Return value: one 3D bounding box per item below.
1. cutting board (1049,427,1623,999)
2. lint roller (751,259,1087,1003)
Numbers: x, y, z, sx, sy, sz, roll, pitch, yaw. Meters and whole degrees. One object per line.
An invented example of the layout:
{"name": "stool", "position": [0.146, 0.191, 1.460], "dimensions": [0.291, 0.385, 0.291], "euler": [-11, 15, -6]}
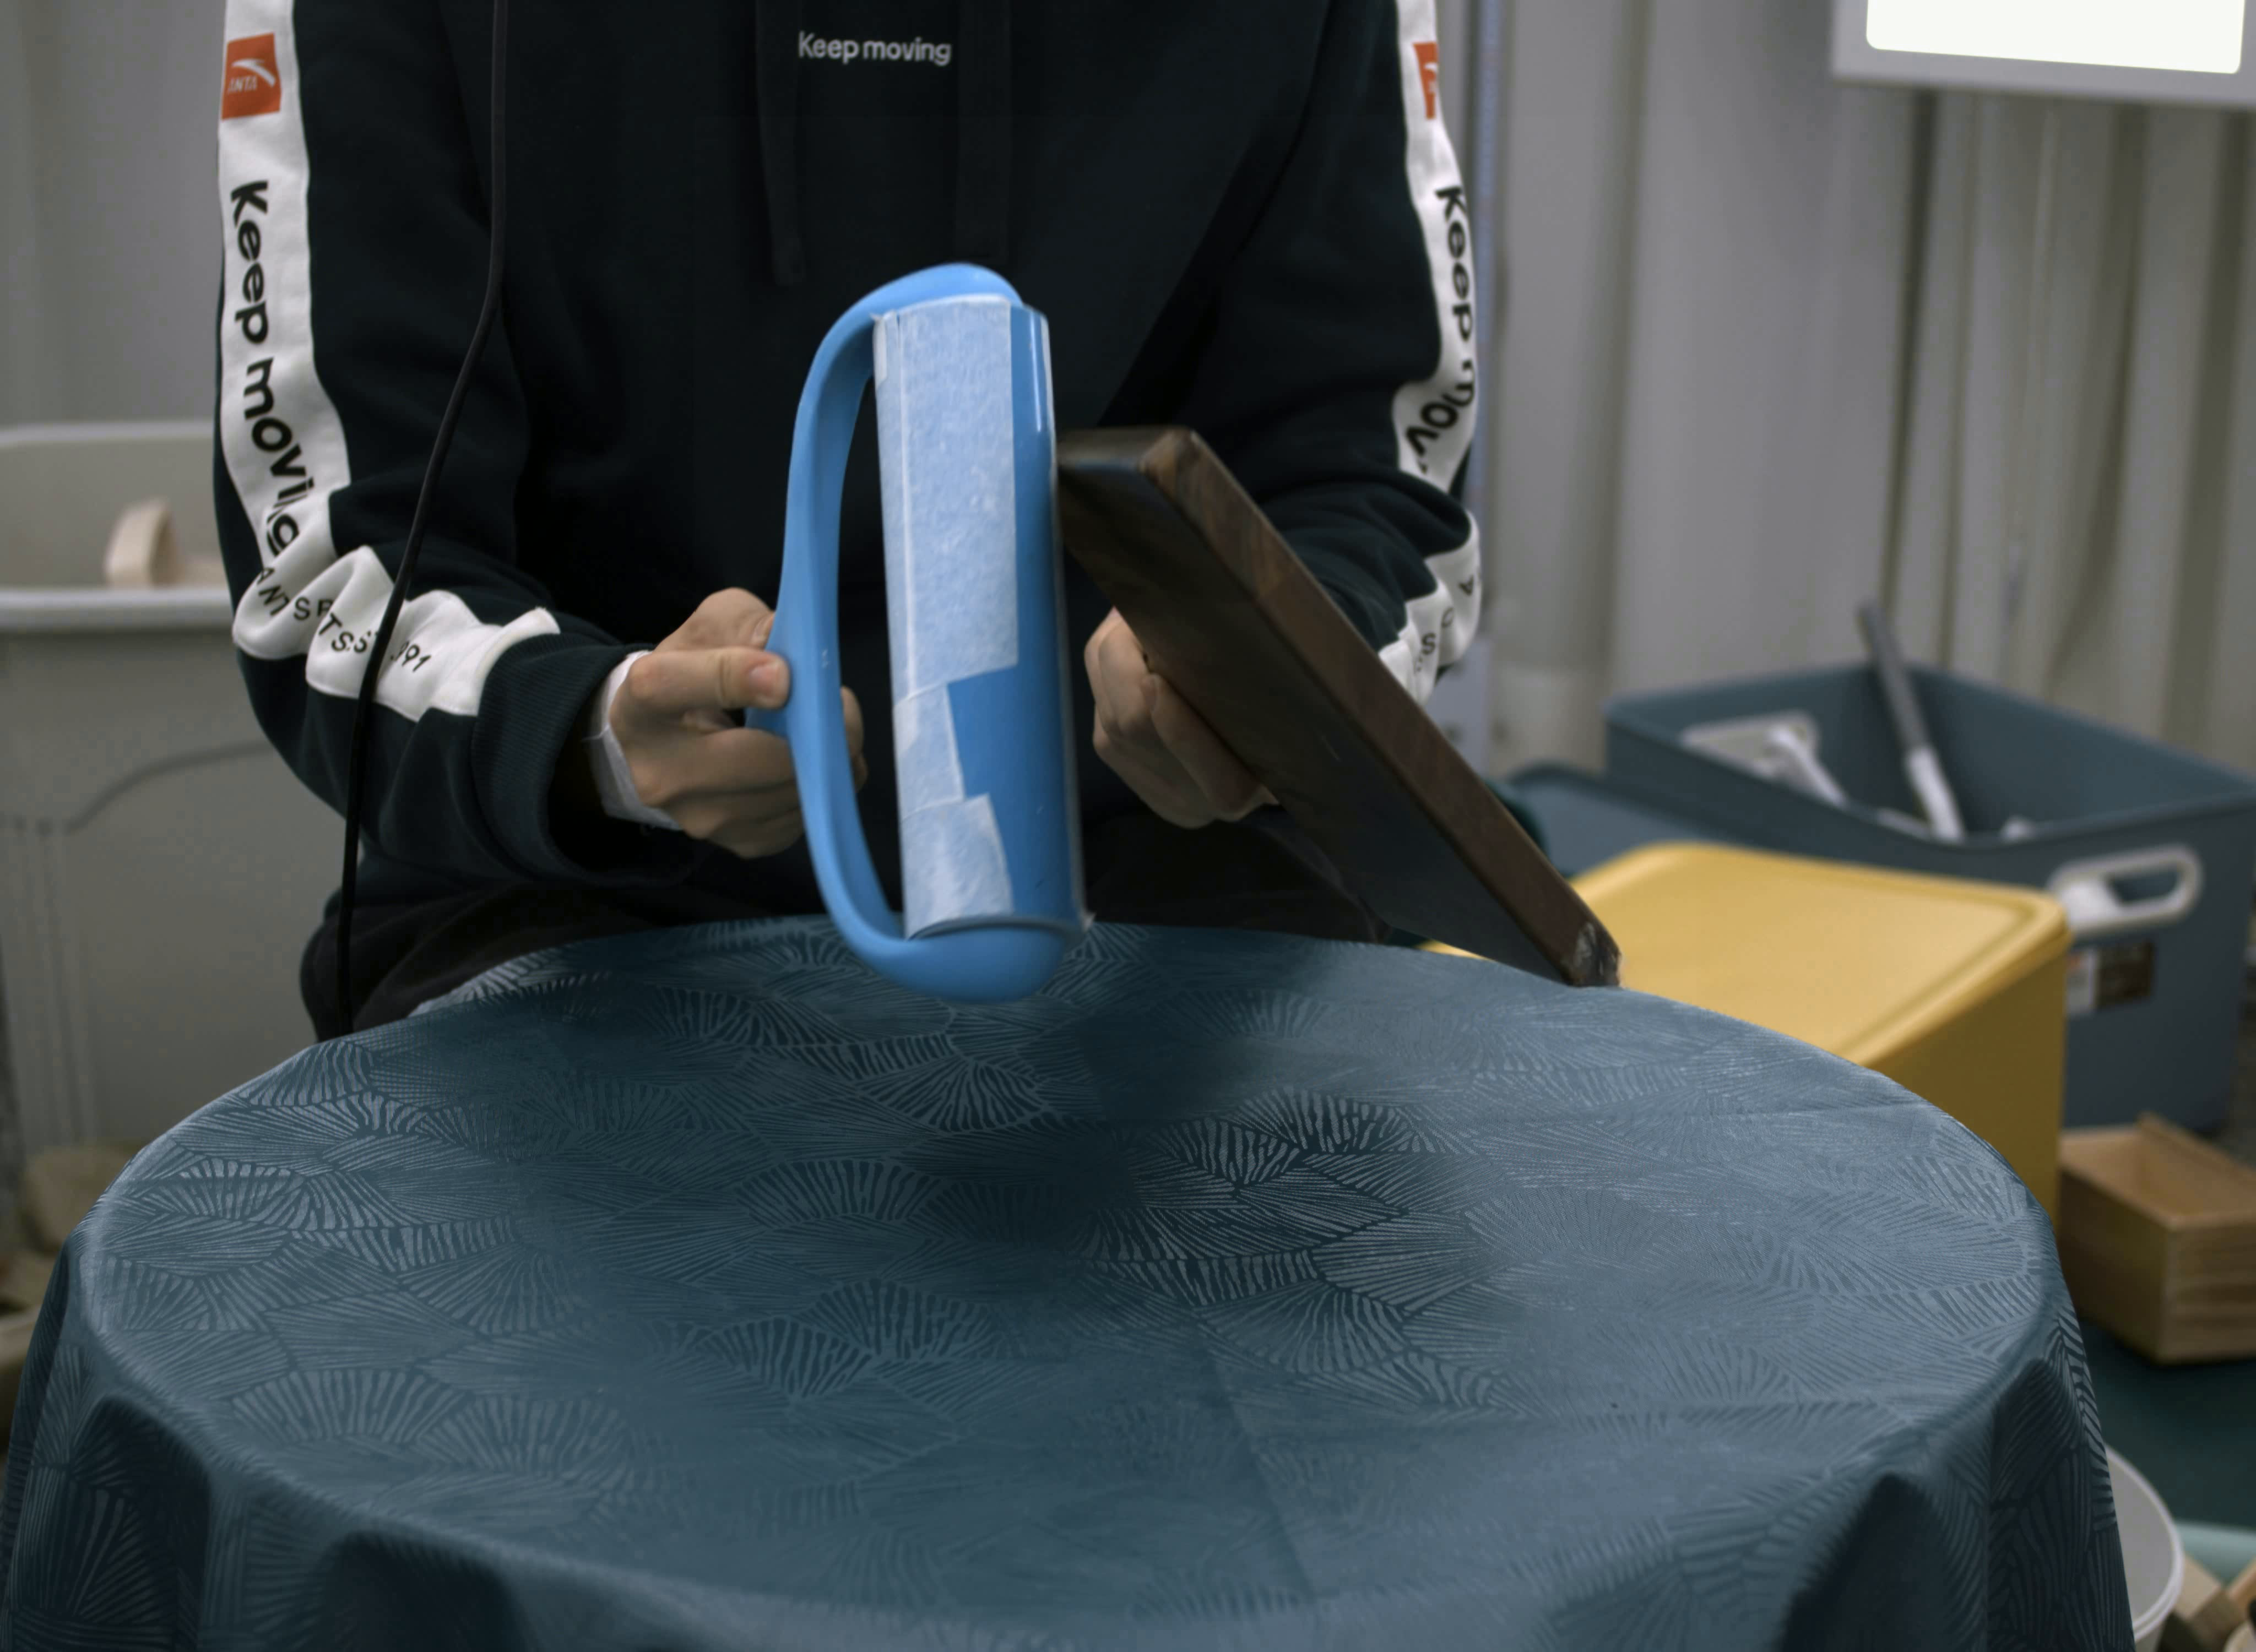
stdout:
{"name": "cutting board", "position": [0.043, -0.042, 1.630], "dimensions": [0.023, 0.202, 0.350], "euler": [-41, 10, -6]}
{"name": "lint roller", "position": [-0.080, -0.042, 1.606], "dimensions": [0.068, 0.228, 0.179], "euler": [5, -20, -36]}
